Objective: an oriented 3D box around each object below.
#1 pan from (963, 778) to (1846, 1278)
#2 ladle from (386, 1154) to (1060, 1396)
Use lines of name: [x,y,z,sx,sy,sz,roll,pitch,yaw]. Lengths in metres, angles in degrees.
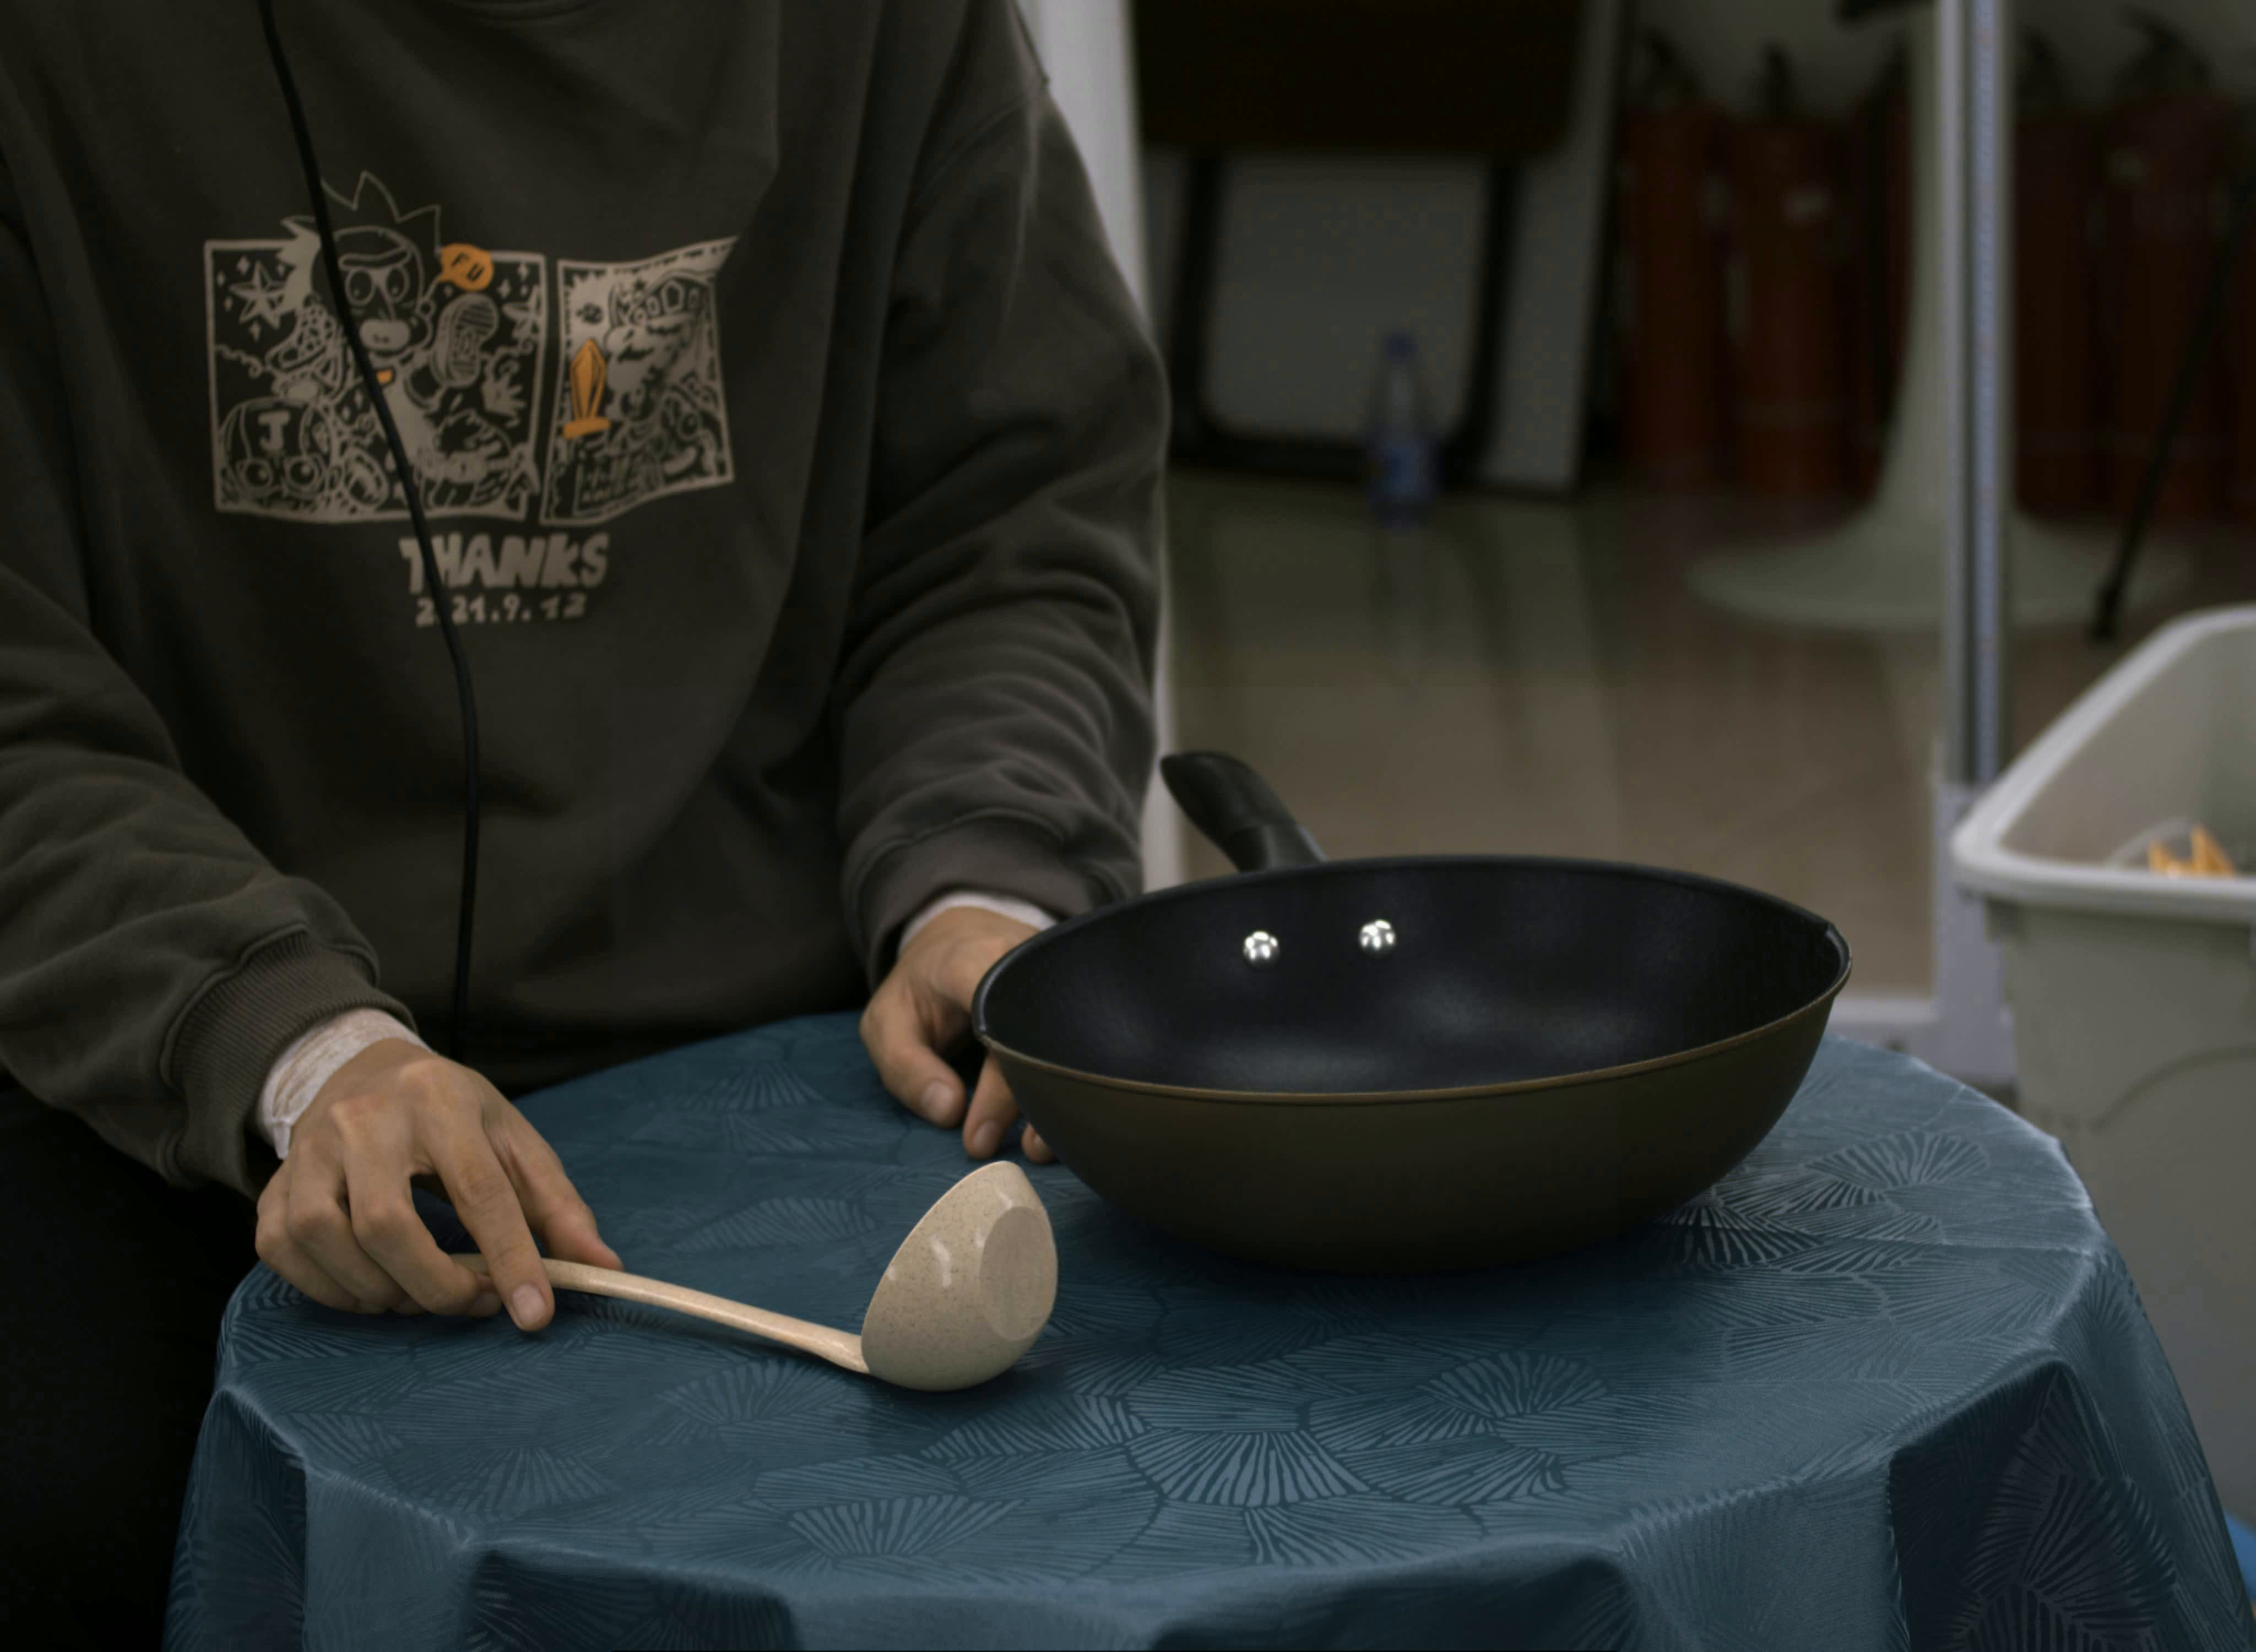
pan: [0.072,0.065,1.814,0.283,0.088,0.466,-7,13,-10]
ladle: [-0.134,0.125,1.649,0.256,0.073,0.071,5,20,34]
